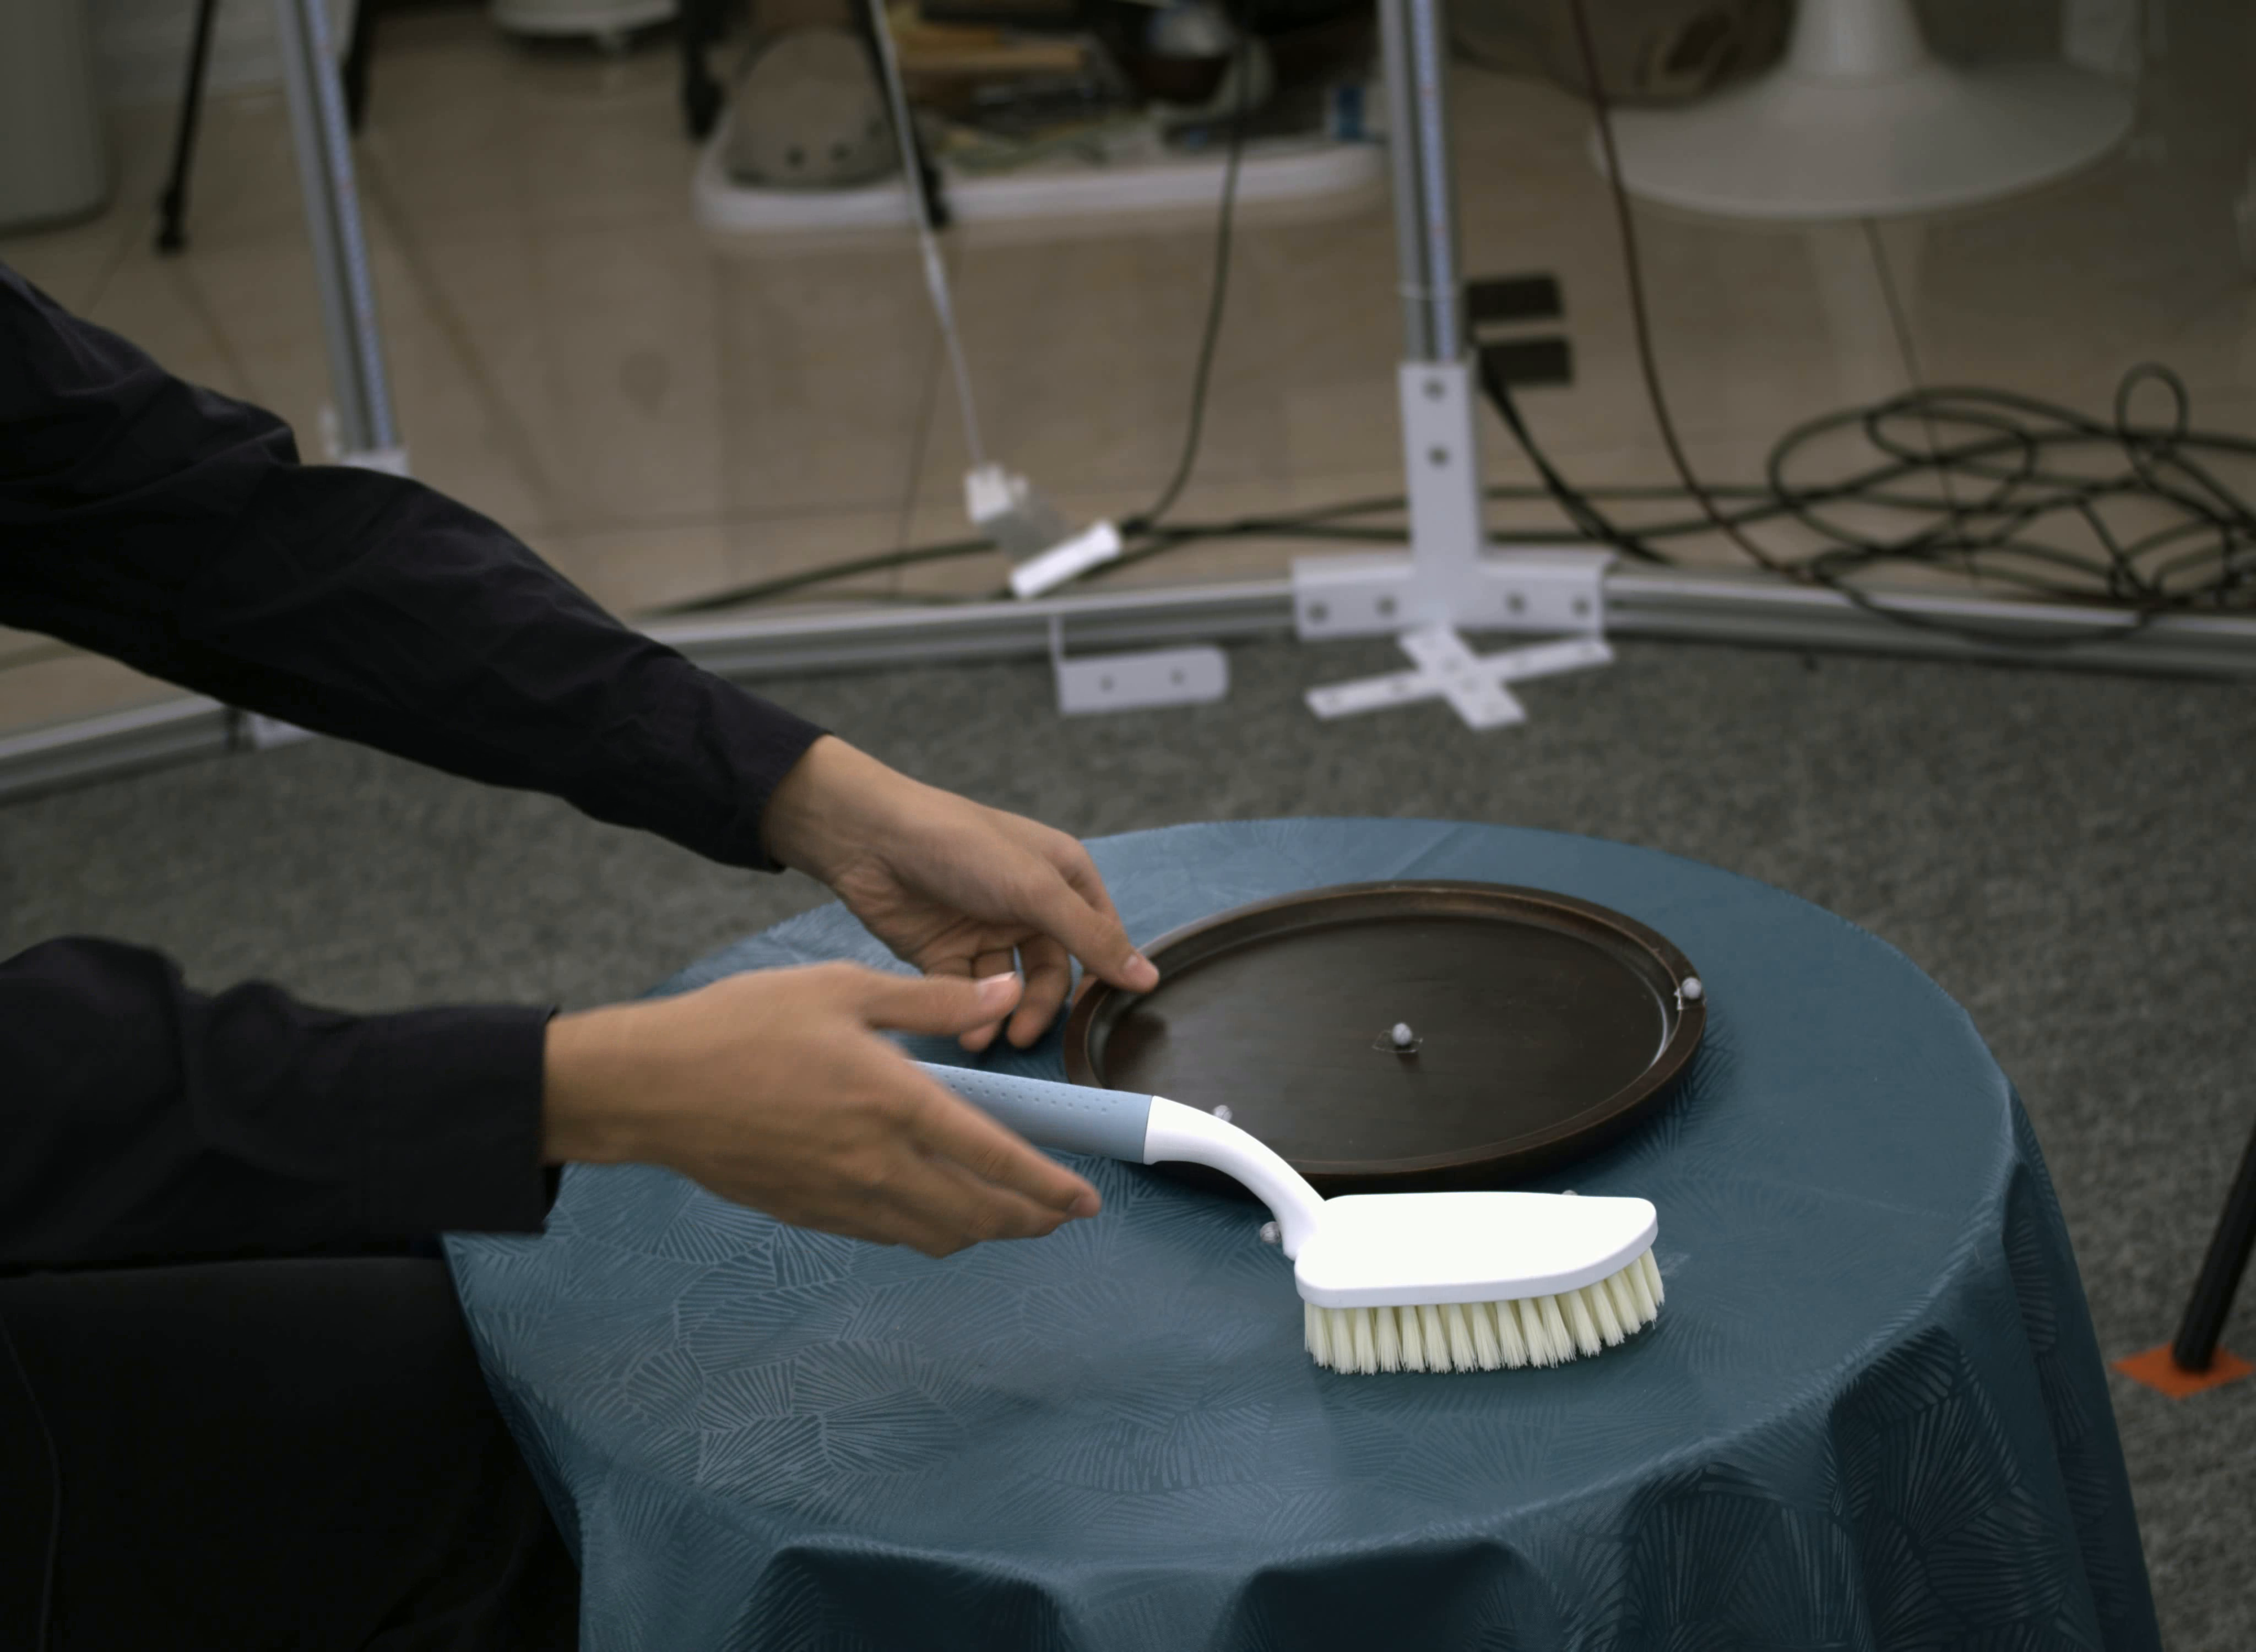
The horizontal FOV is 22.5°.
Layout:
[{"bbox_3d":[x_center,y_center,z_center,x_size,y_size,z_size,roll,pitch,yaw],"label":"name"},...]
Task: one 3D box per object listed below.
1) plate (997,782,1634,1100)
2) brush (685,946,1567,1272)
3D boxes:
[{"bbox_3d":[0.074,0.044,2.248,0.254,0.029,0.251,-5,27,3],"label":"plate"},{"bbox_3d":[-0.003,0.112,2.055,0.325,0.084,0.083,9,-9,3],"label":"brush"}]
